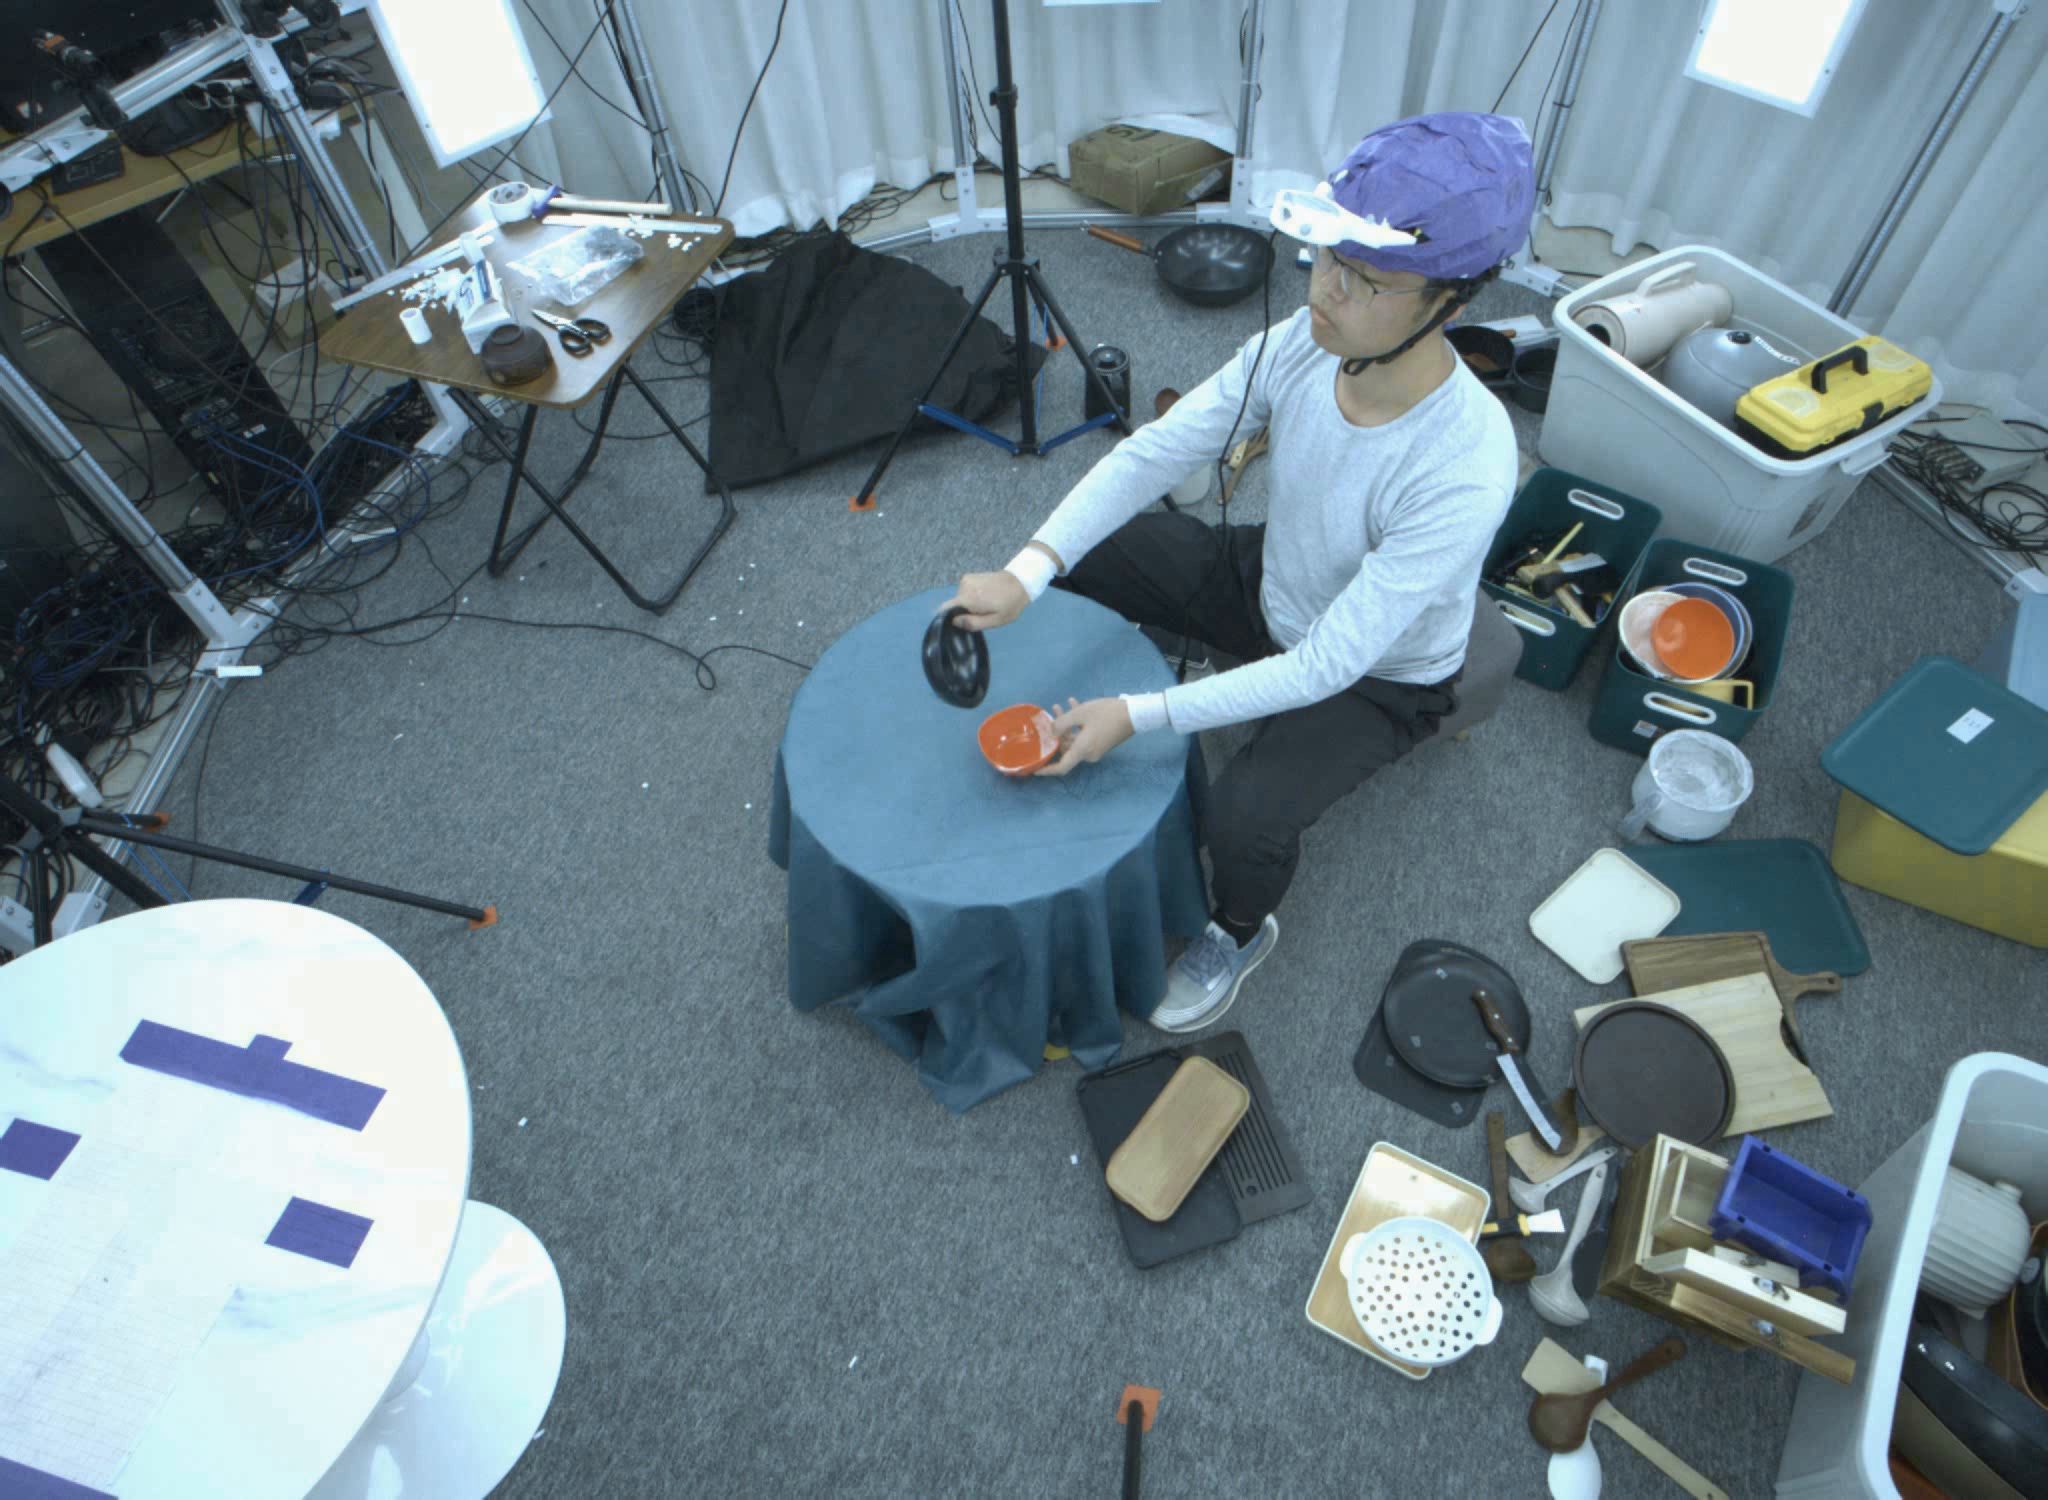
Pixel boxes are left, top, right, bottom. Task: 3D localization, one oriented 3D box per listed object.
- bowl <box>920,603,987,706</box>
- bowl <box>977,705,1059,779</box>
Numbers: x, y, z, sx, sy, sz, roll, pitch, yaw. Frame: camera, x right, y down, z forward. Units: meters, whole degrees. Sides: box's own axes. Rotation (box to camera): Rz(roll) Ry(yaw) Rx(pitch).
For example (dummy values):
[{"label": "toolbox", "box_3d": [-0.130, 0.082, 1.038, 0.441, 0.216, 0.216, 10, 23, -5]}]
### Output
[{"label": "bowl", "box_3d": [-0.102, -0.126, 1.658, 0.049, 0.143, 0.139, -7, 52, 23]}, {"label": "bowl", "box_3d": [-0.005, -0.003, 1.752, 0.118, 0.052, 0.117, -4, 53, 6]}]
